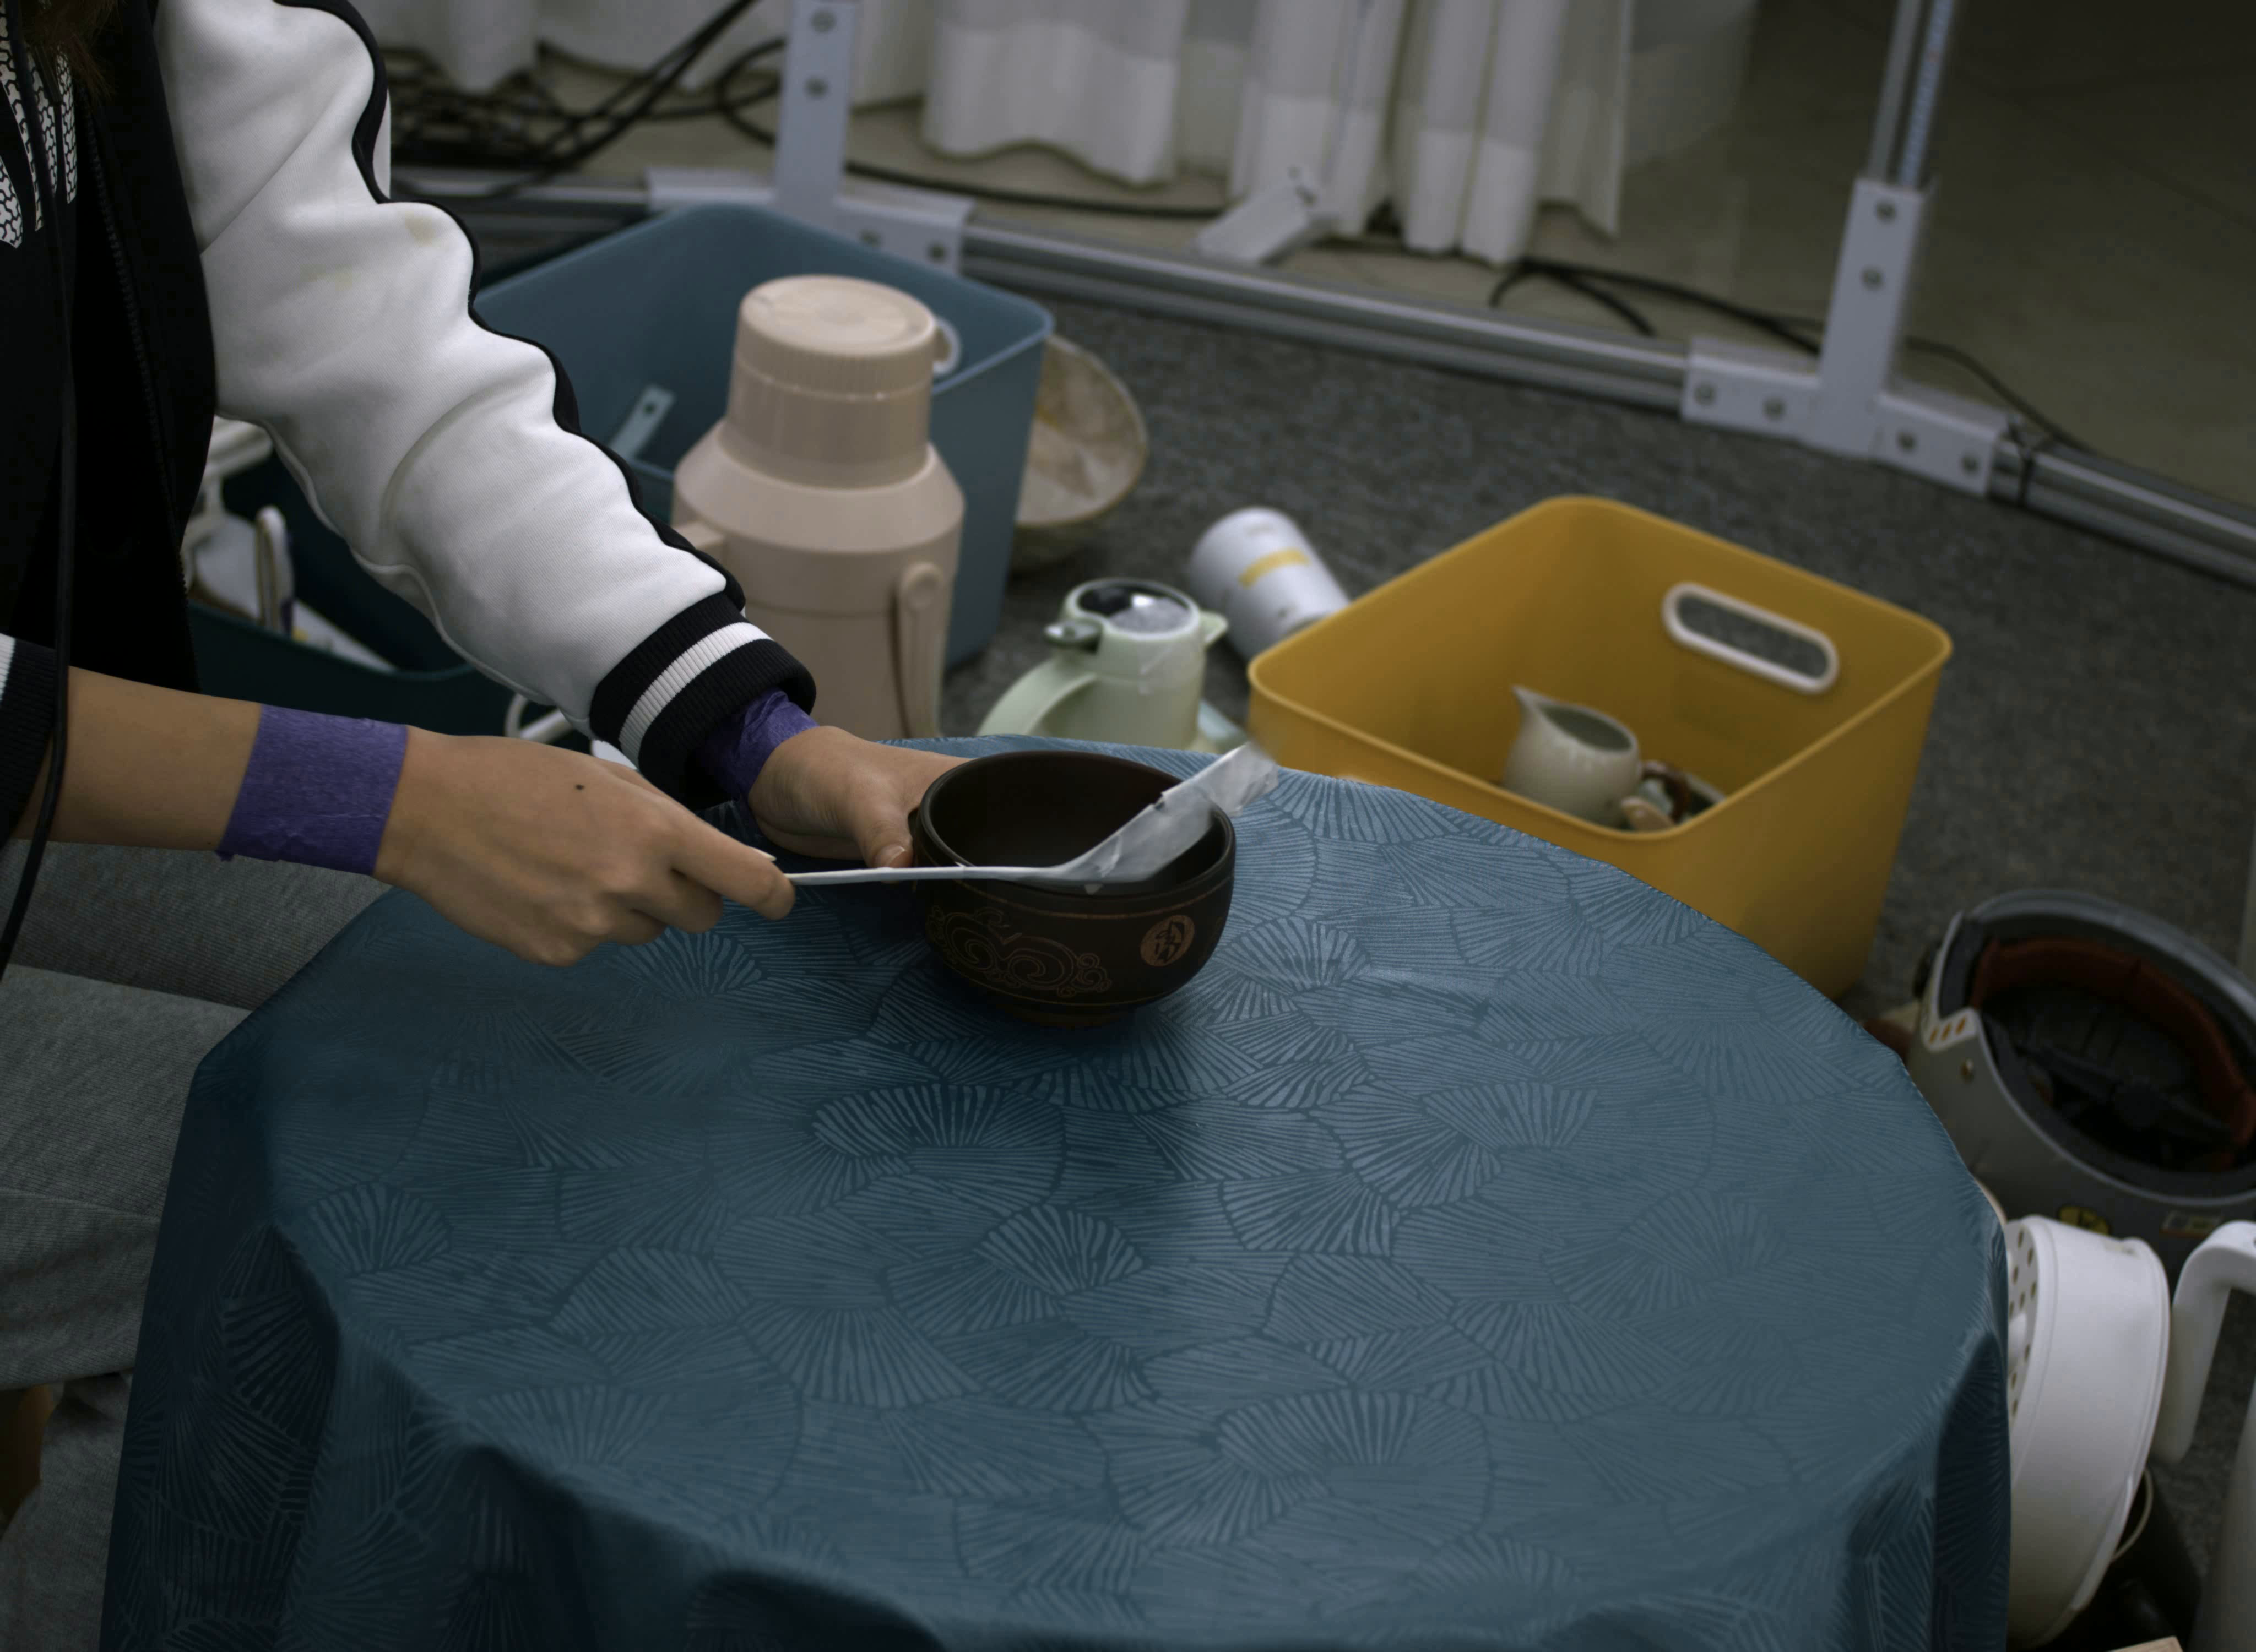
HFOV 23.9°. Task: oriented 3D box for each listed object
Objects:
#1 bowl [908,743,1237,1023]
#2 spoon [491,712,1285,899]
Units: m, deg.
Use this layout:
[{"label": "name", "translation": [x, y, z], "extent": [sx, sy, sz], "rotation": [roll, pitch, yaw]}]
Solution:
[{"label": "bowl", "translation": [-0.022, 0.027, 1.906], "extent": [0.117, 0.069, 0.119], "rotation": [5, 27, -3]}, {"label": "spoon", "translation": [-0.083, -0.006, 1.852], "extent": [0.276, 0.060, 0.100], "rotation": [-1, -15, -2]}]
